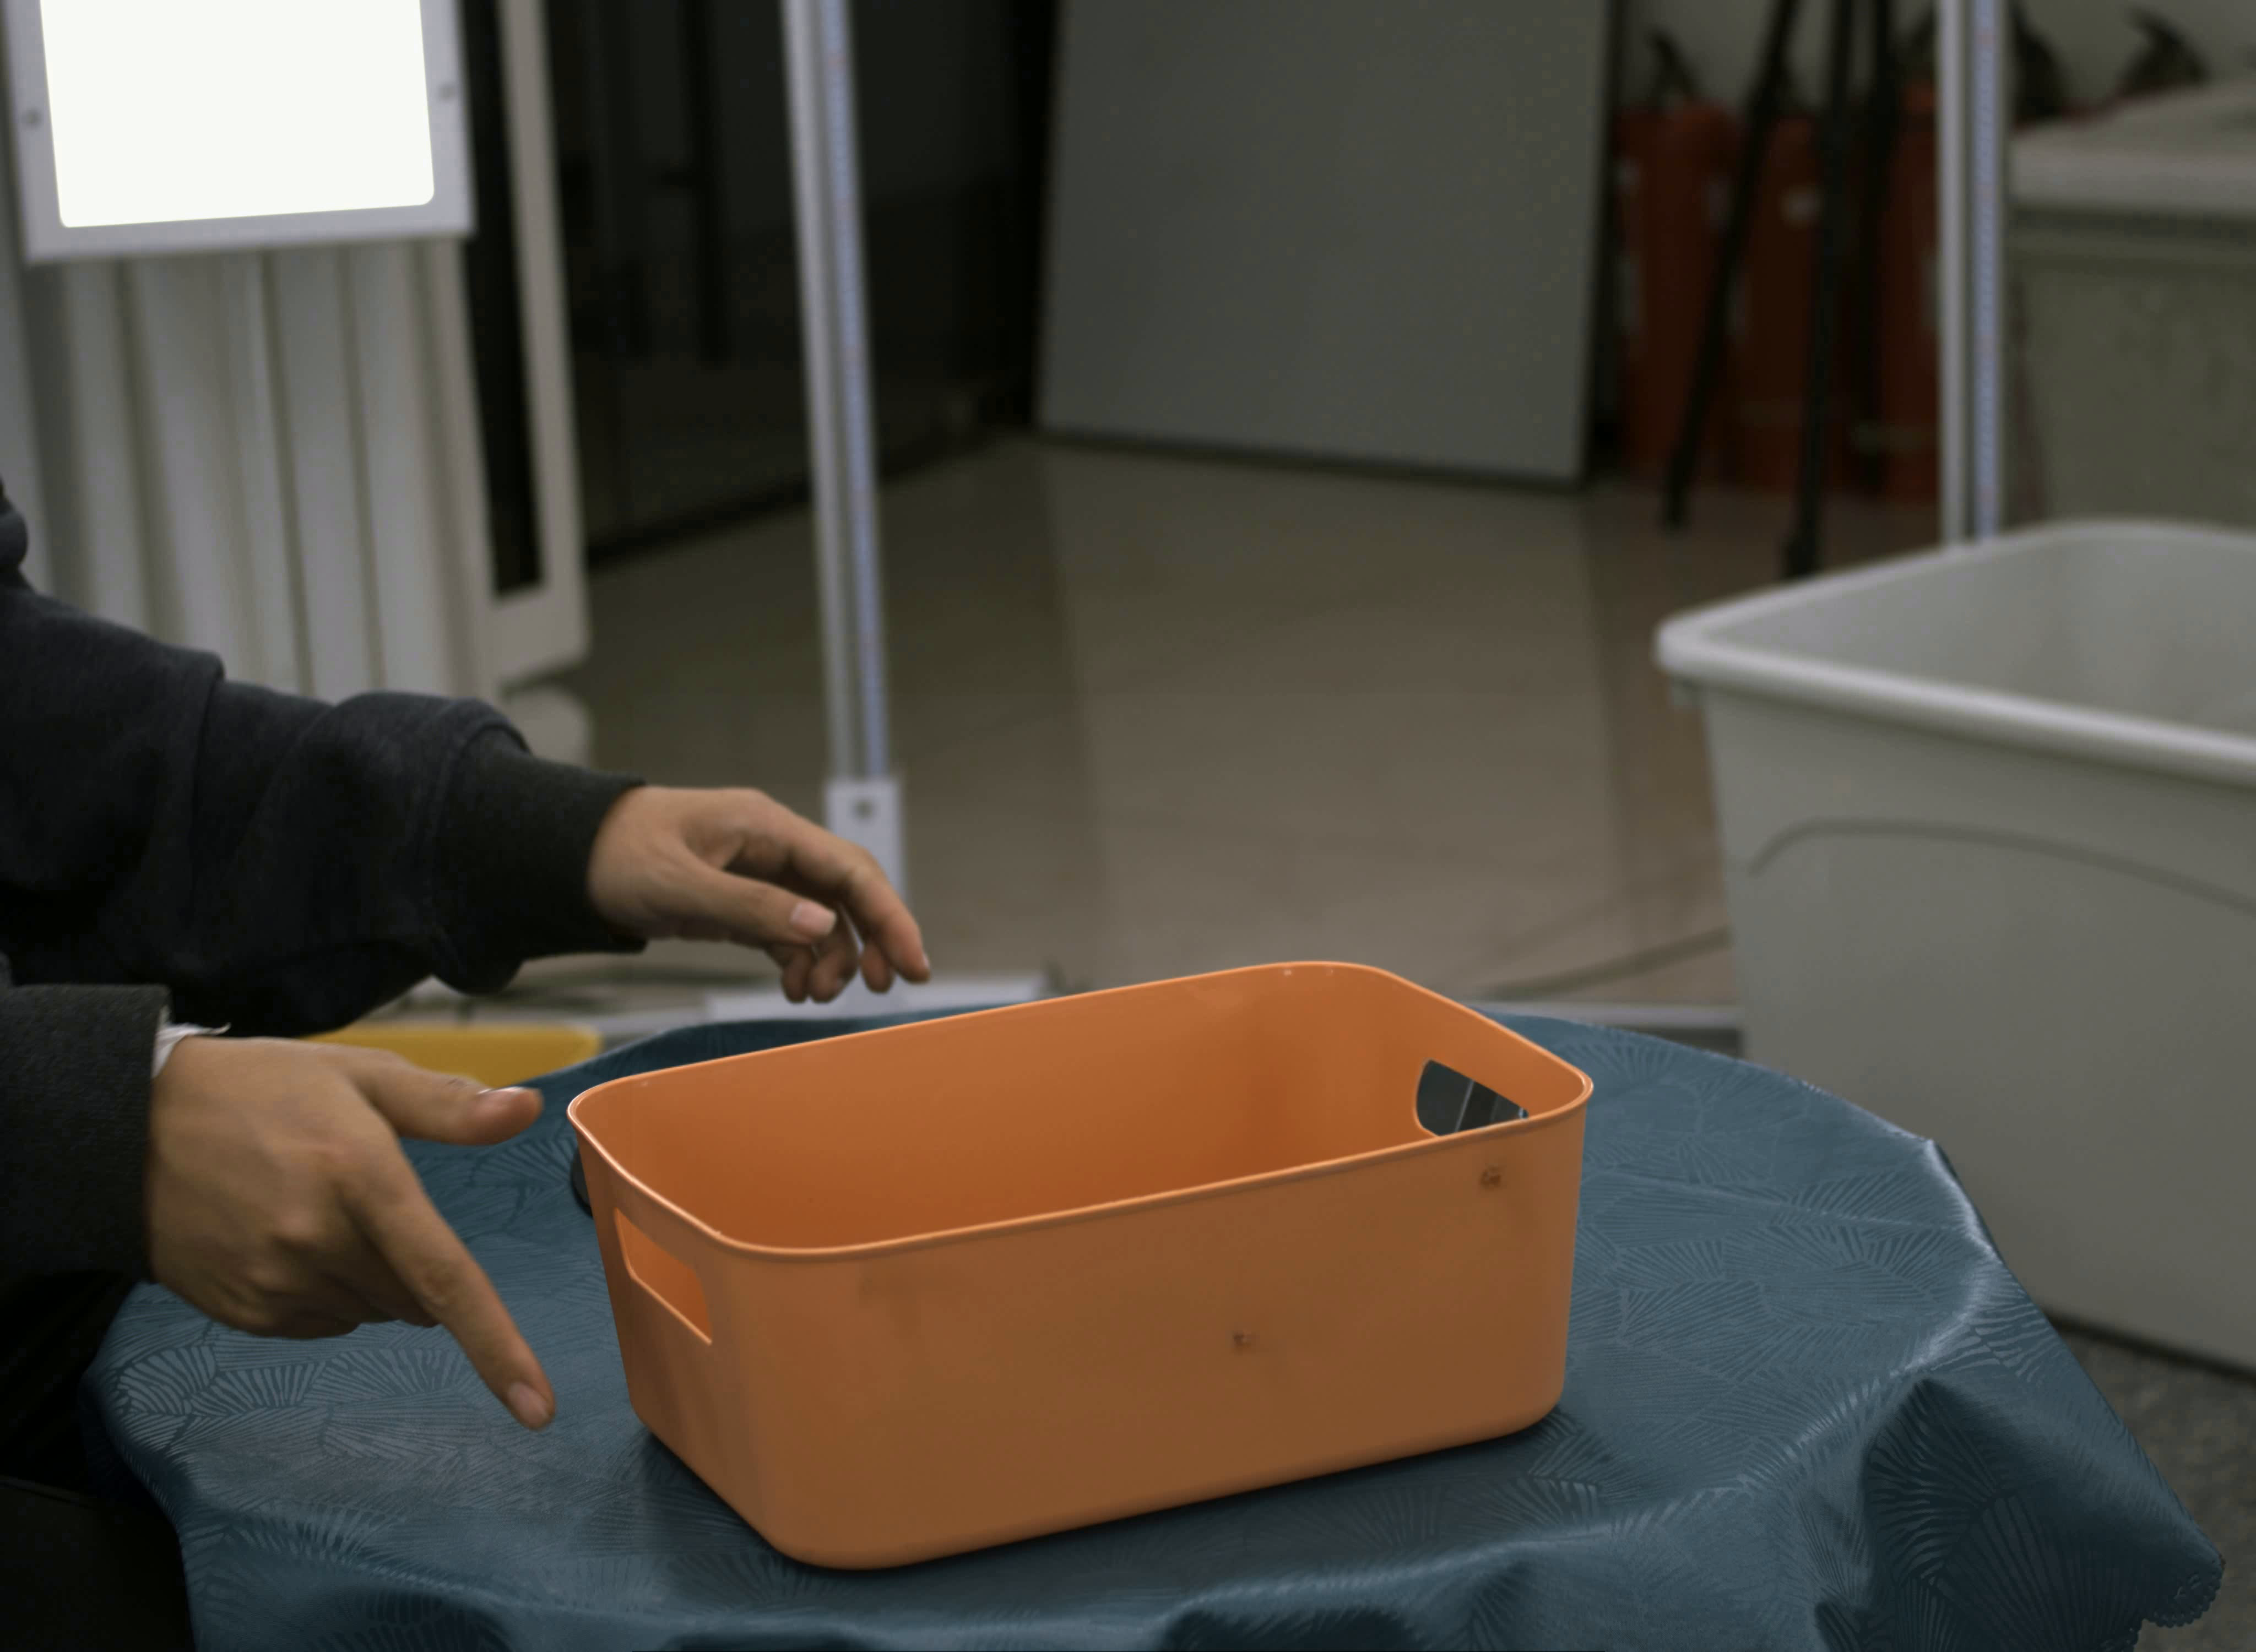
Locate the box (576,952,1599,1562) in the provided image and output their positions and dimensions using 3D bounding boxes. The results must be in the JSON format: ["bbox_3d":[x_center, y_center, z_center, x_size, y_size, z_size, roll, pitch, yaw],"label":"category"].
[{"bbox_3d":[-0.012,0.121,1.550,0.267,0.104,0.201,-9,15,-21],"label":"box"}]

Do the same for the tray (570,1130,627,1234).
[{"bbox_3d":[-0.028,0.106,1.827,0.323,0.010,0.210,-1,14,11],"label":"tray"}]
